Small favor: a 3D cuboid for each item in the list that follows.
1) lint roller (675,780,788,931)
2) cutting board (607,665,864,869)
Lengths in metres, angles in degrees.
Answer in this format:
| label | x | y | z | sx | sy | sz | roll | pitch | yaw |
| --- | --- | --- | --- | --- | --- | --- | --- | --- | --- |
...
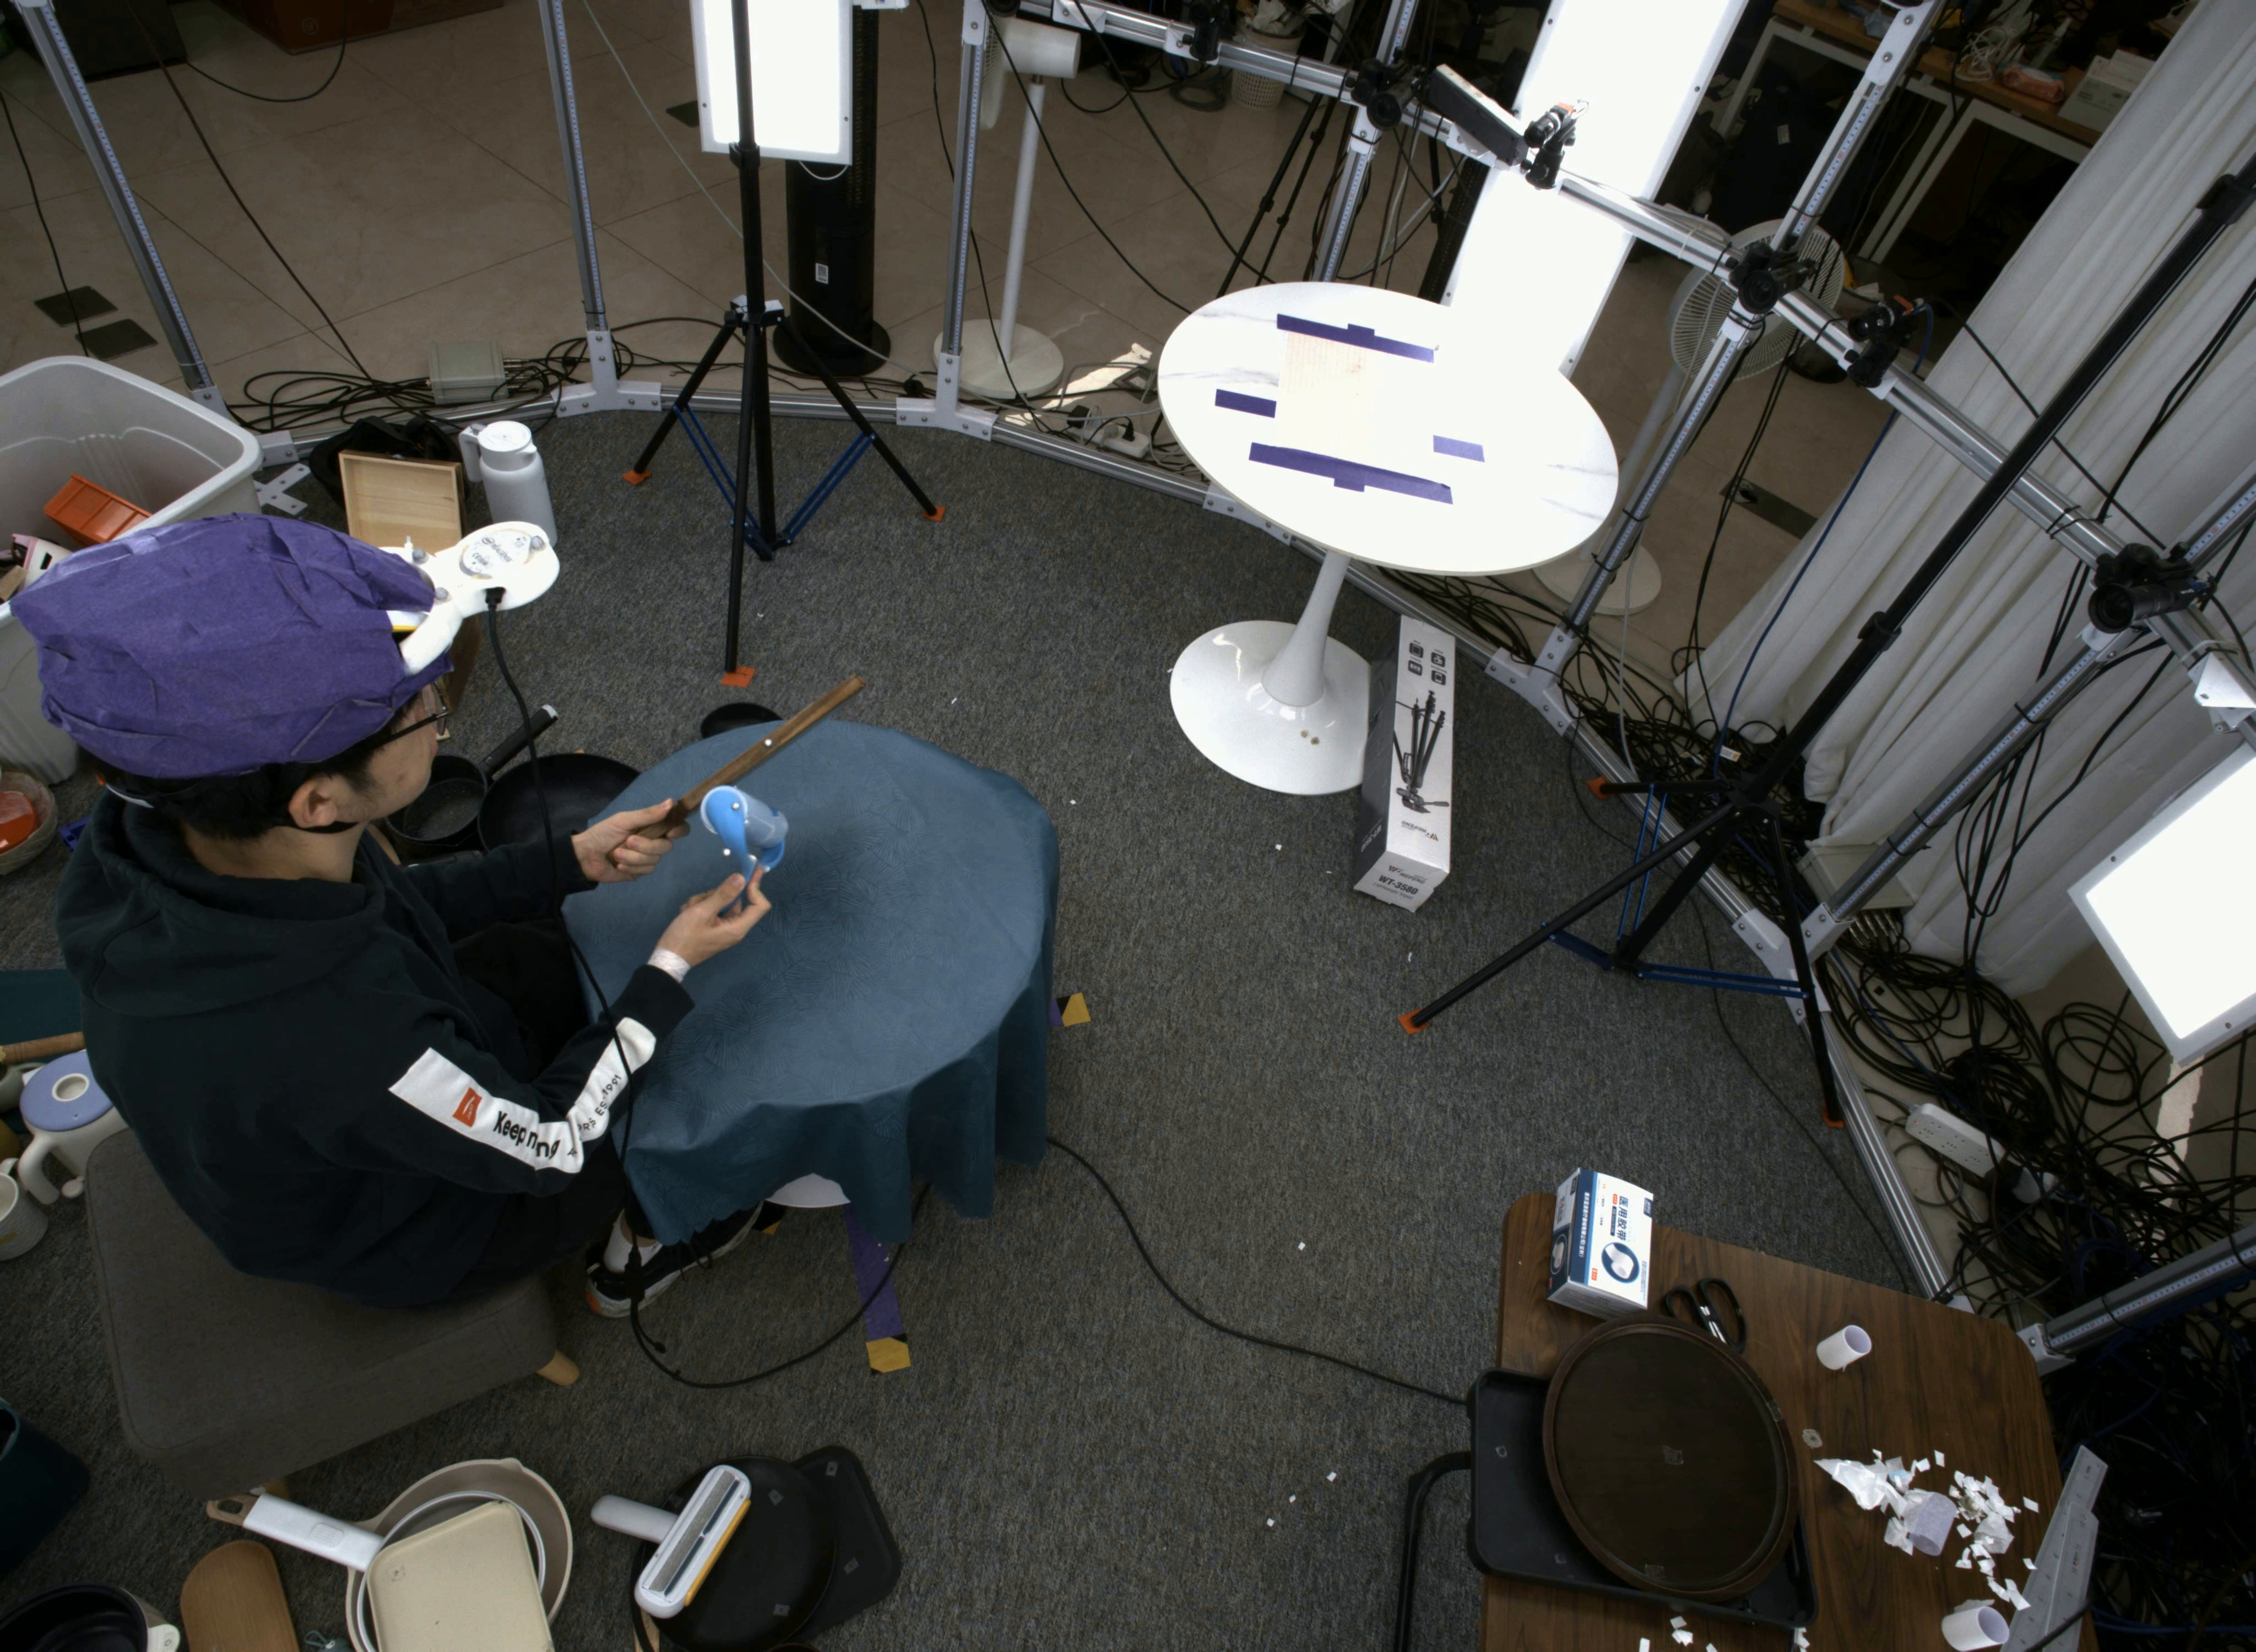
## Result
| label | x | y | z | sx | sy | sz | roll | pitch | yaw |
| --- | --- | --- | --- | --- | --- | --- | --- | --- | --- |
| lint roller | -0.460 | 0.043 | 1.490 | 0.067 | 0.229 | 0.181 | 20 | 87 | 0 |
| cutting board | -0.465 | -0.067 | 1.519 | 0.352 | 0.198 | 0.023 | -39 | 98 | -16 |
